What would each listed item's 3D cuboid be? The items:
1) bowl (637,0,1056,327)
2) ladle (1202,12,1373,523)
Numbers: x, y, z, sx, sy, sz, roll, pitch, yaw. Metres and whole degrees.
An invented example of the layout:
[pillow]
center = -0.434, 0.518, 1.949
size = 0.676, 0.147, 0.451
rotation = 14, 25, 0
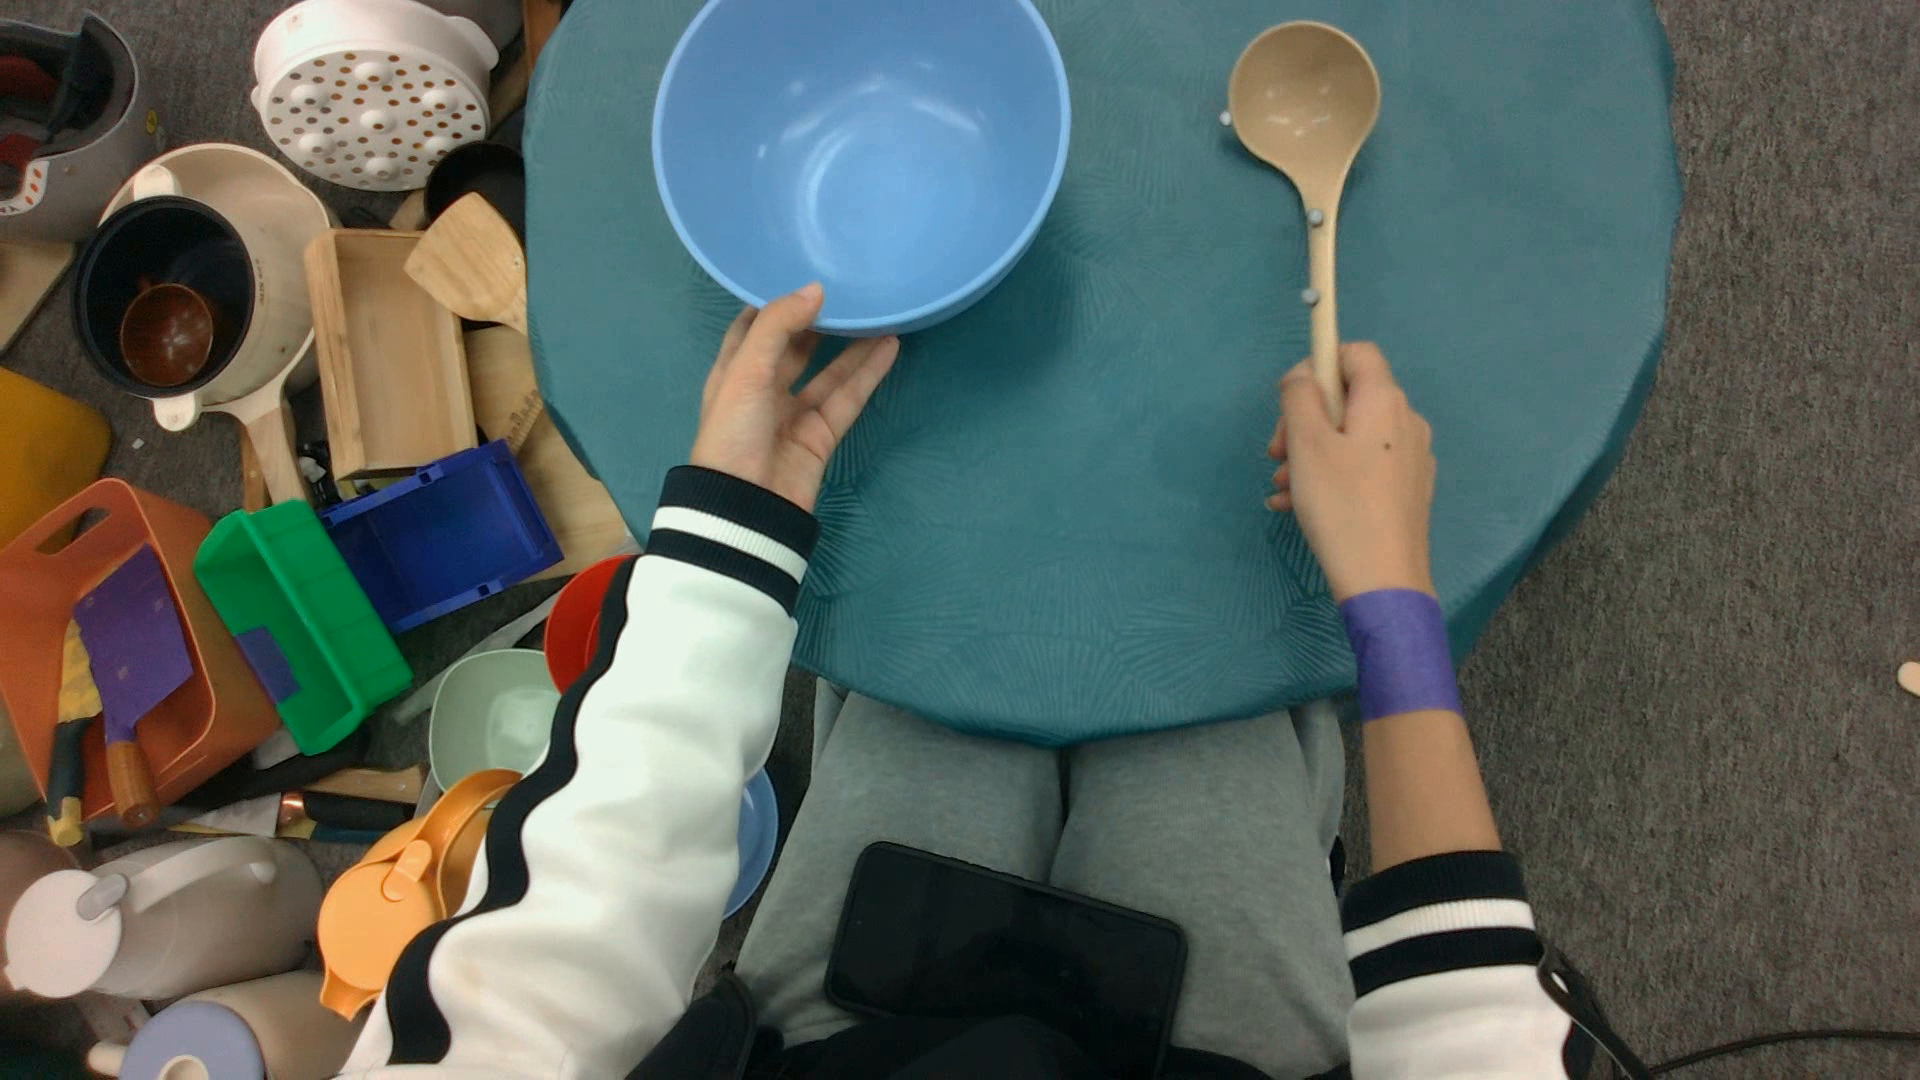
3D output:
[bowl]
center = -0.050, -0.189, 0.684
size = 0.196, 0.095, 0.197
rotation = -1, 79, 4
[ladle]
center = 0.156, -0.135, 0.639
size = 0.072, 0.073, 0.255
rotation = -16, 59, 29
